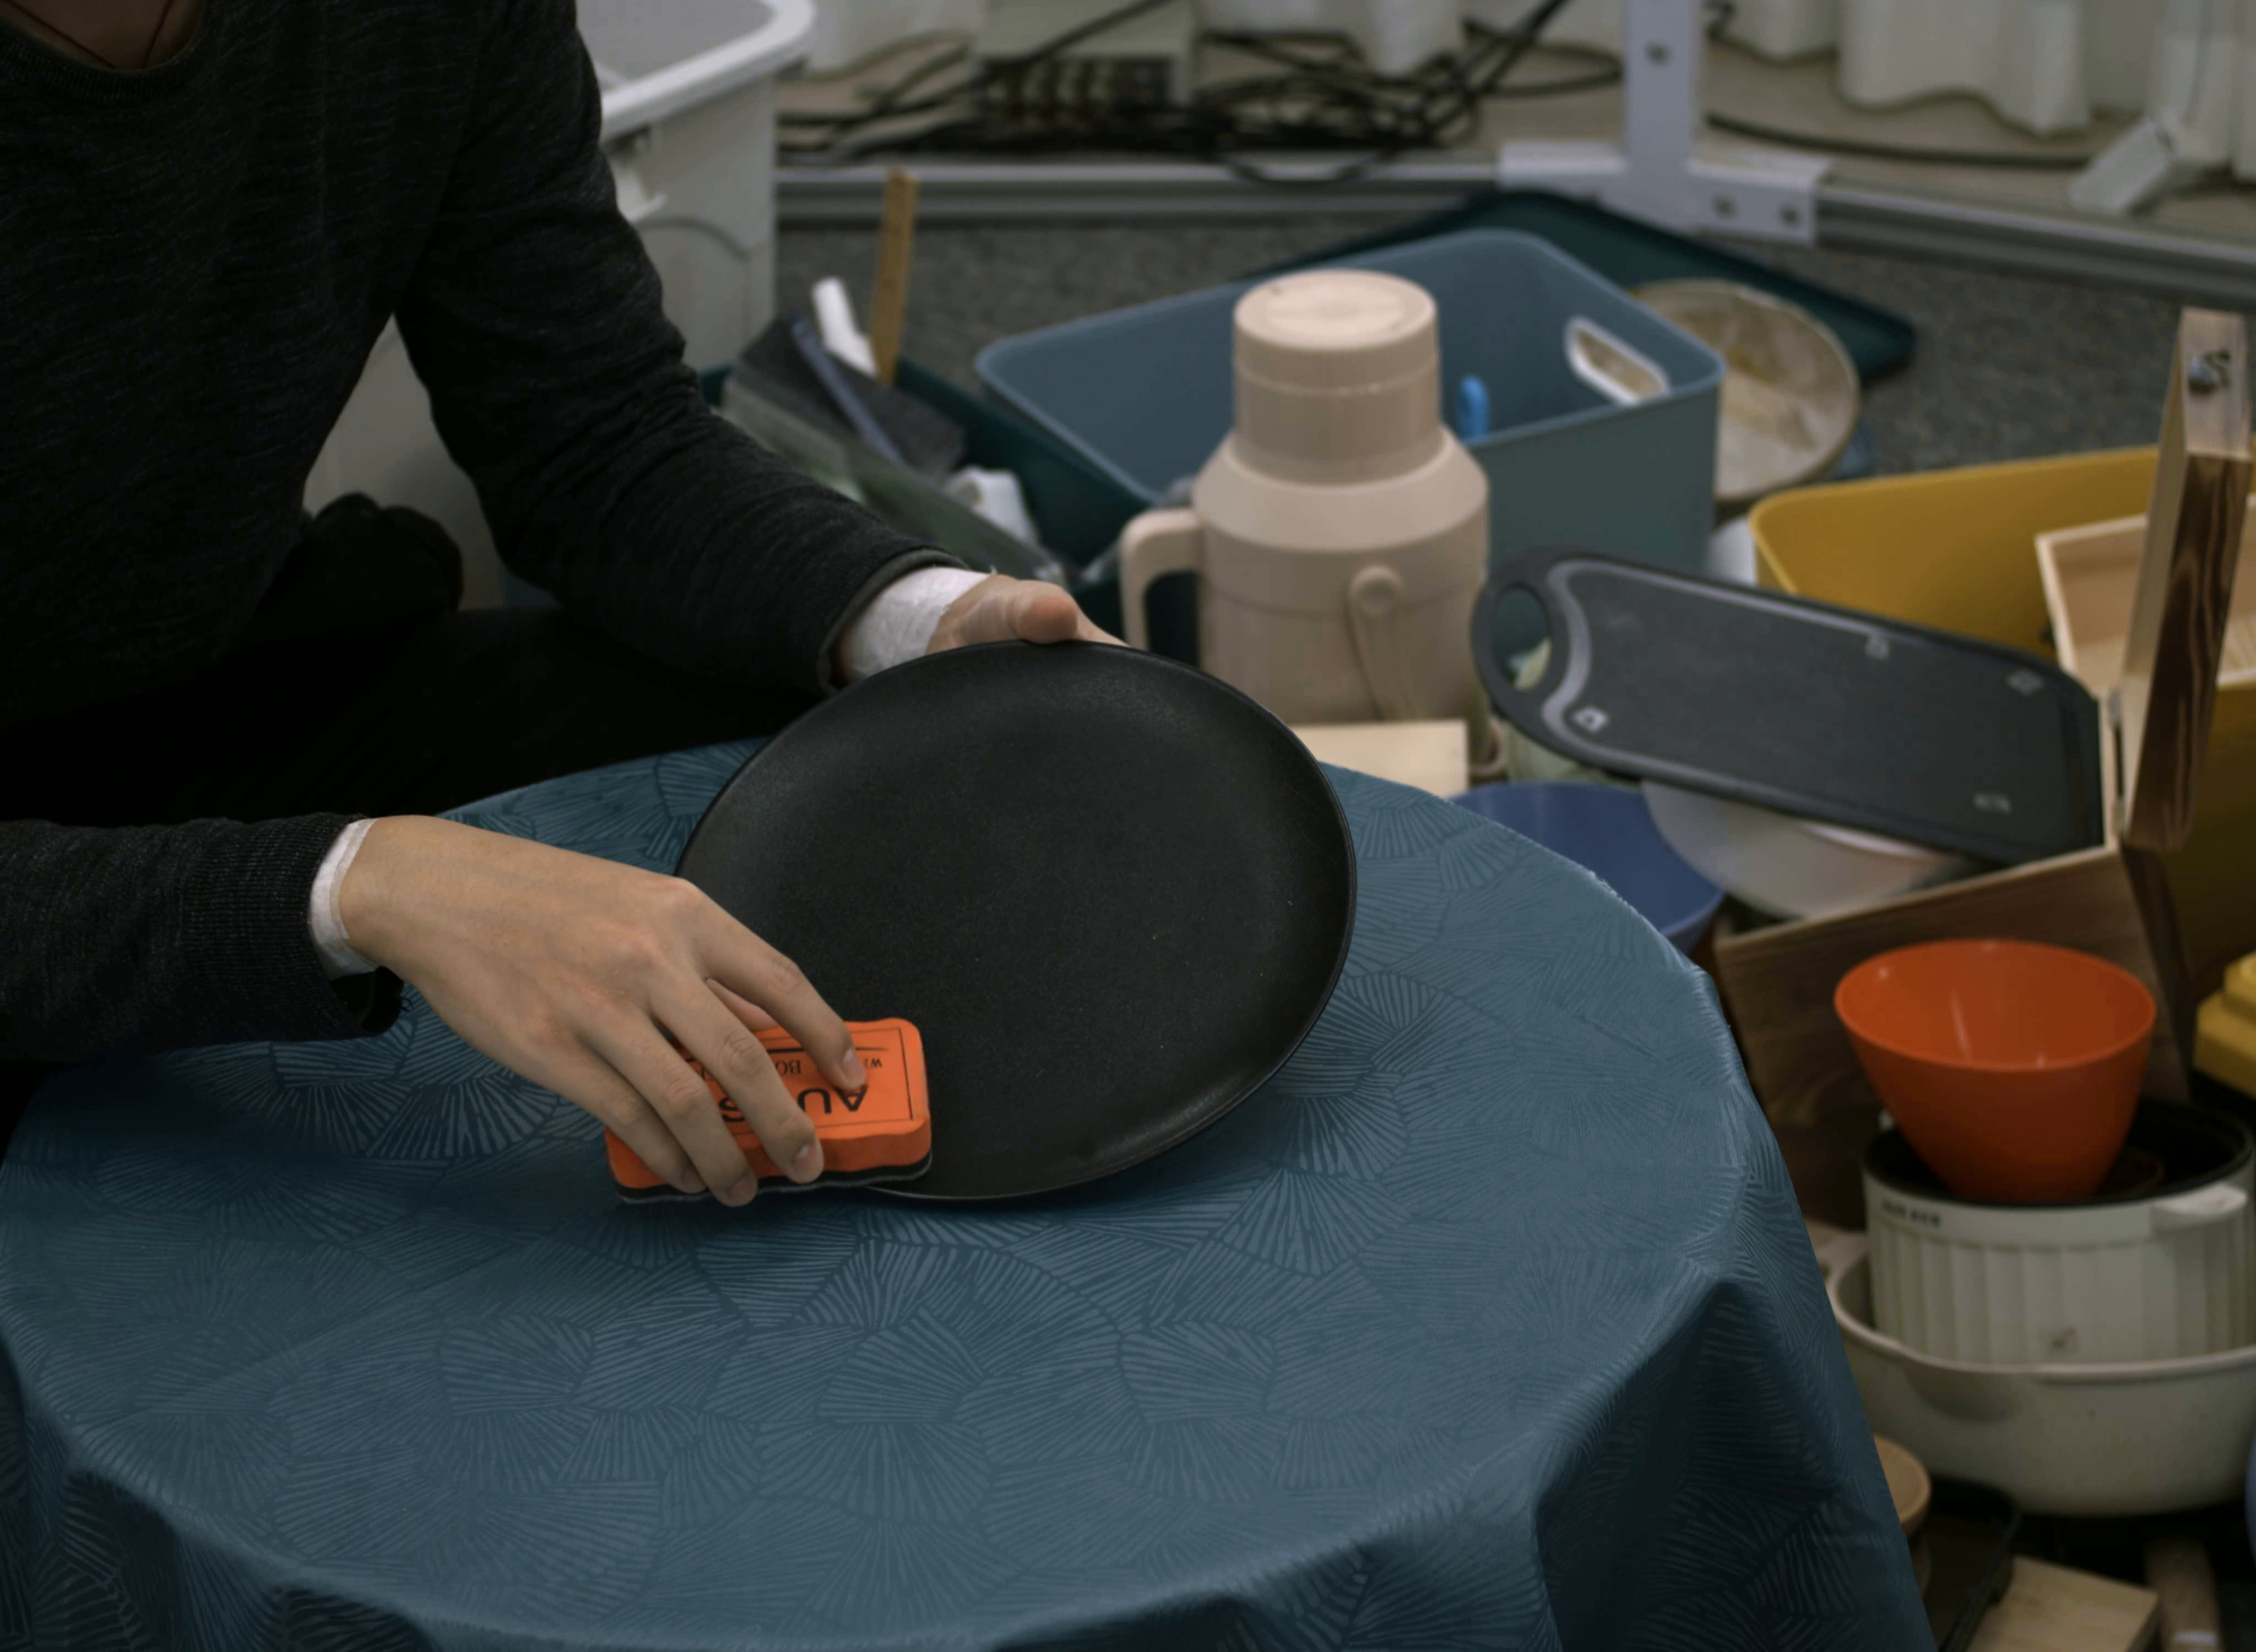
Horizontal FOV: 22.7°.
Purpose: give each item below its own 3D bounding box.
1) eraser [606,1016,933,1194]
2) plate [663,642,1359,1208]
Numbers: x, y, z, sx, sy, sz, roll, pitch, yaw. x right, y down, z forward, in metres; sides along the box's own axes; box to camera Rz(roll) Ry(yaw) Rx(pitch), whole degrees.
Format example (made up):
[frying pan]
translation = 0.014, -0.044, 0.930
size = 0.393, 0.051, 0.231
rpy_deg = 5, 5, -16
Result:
[eraser]
translation = -0.120, 0.093, 1.871
size = 0.108, 0.022, 0.060
rpy_deg = -4, 40, -5
[plate]
translation = -0.039, 0.035, 1.934
size = 0.243, 0.023, 0.249
rpy_deg = -5, 49, 6
